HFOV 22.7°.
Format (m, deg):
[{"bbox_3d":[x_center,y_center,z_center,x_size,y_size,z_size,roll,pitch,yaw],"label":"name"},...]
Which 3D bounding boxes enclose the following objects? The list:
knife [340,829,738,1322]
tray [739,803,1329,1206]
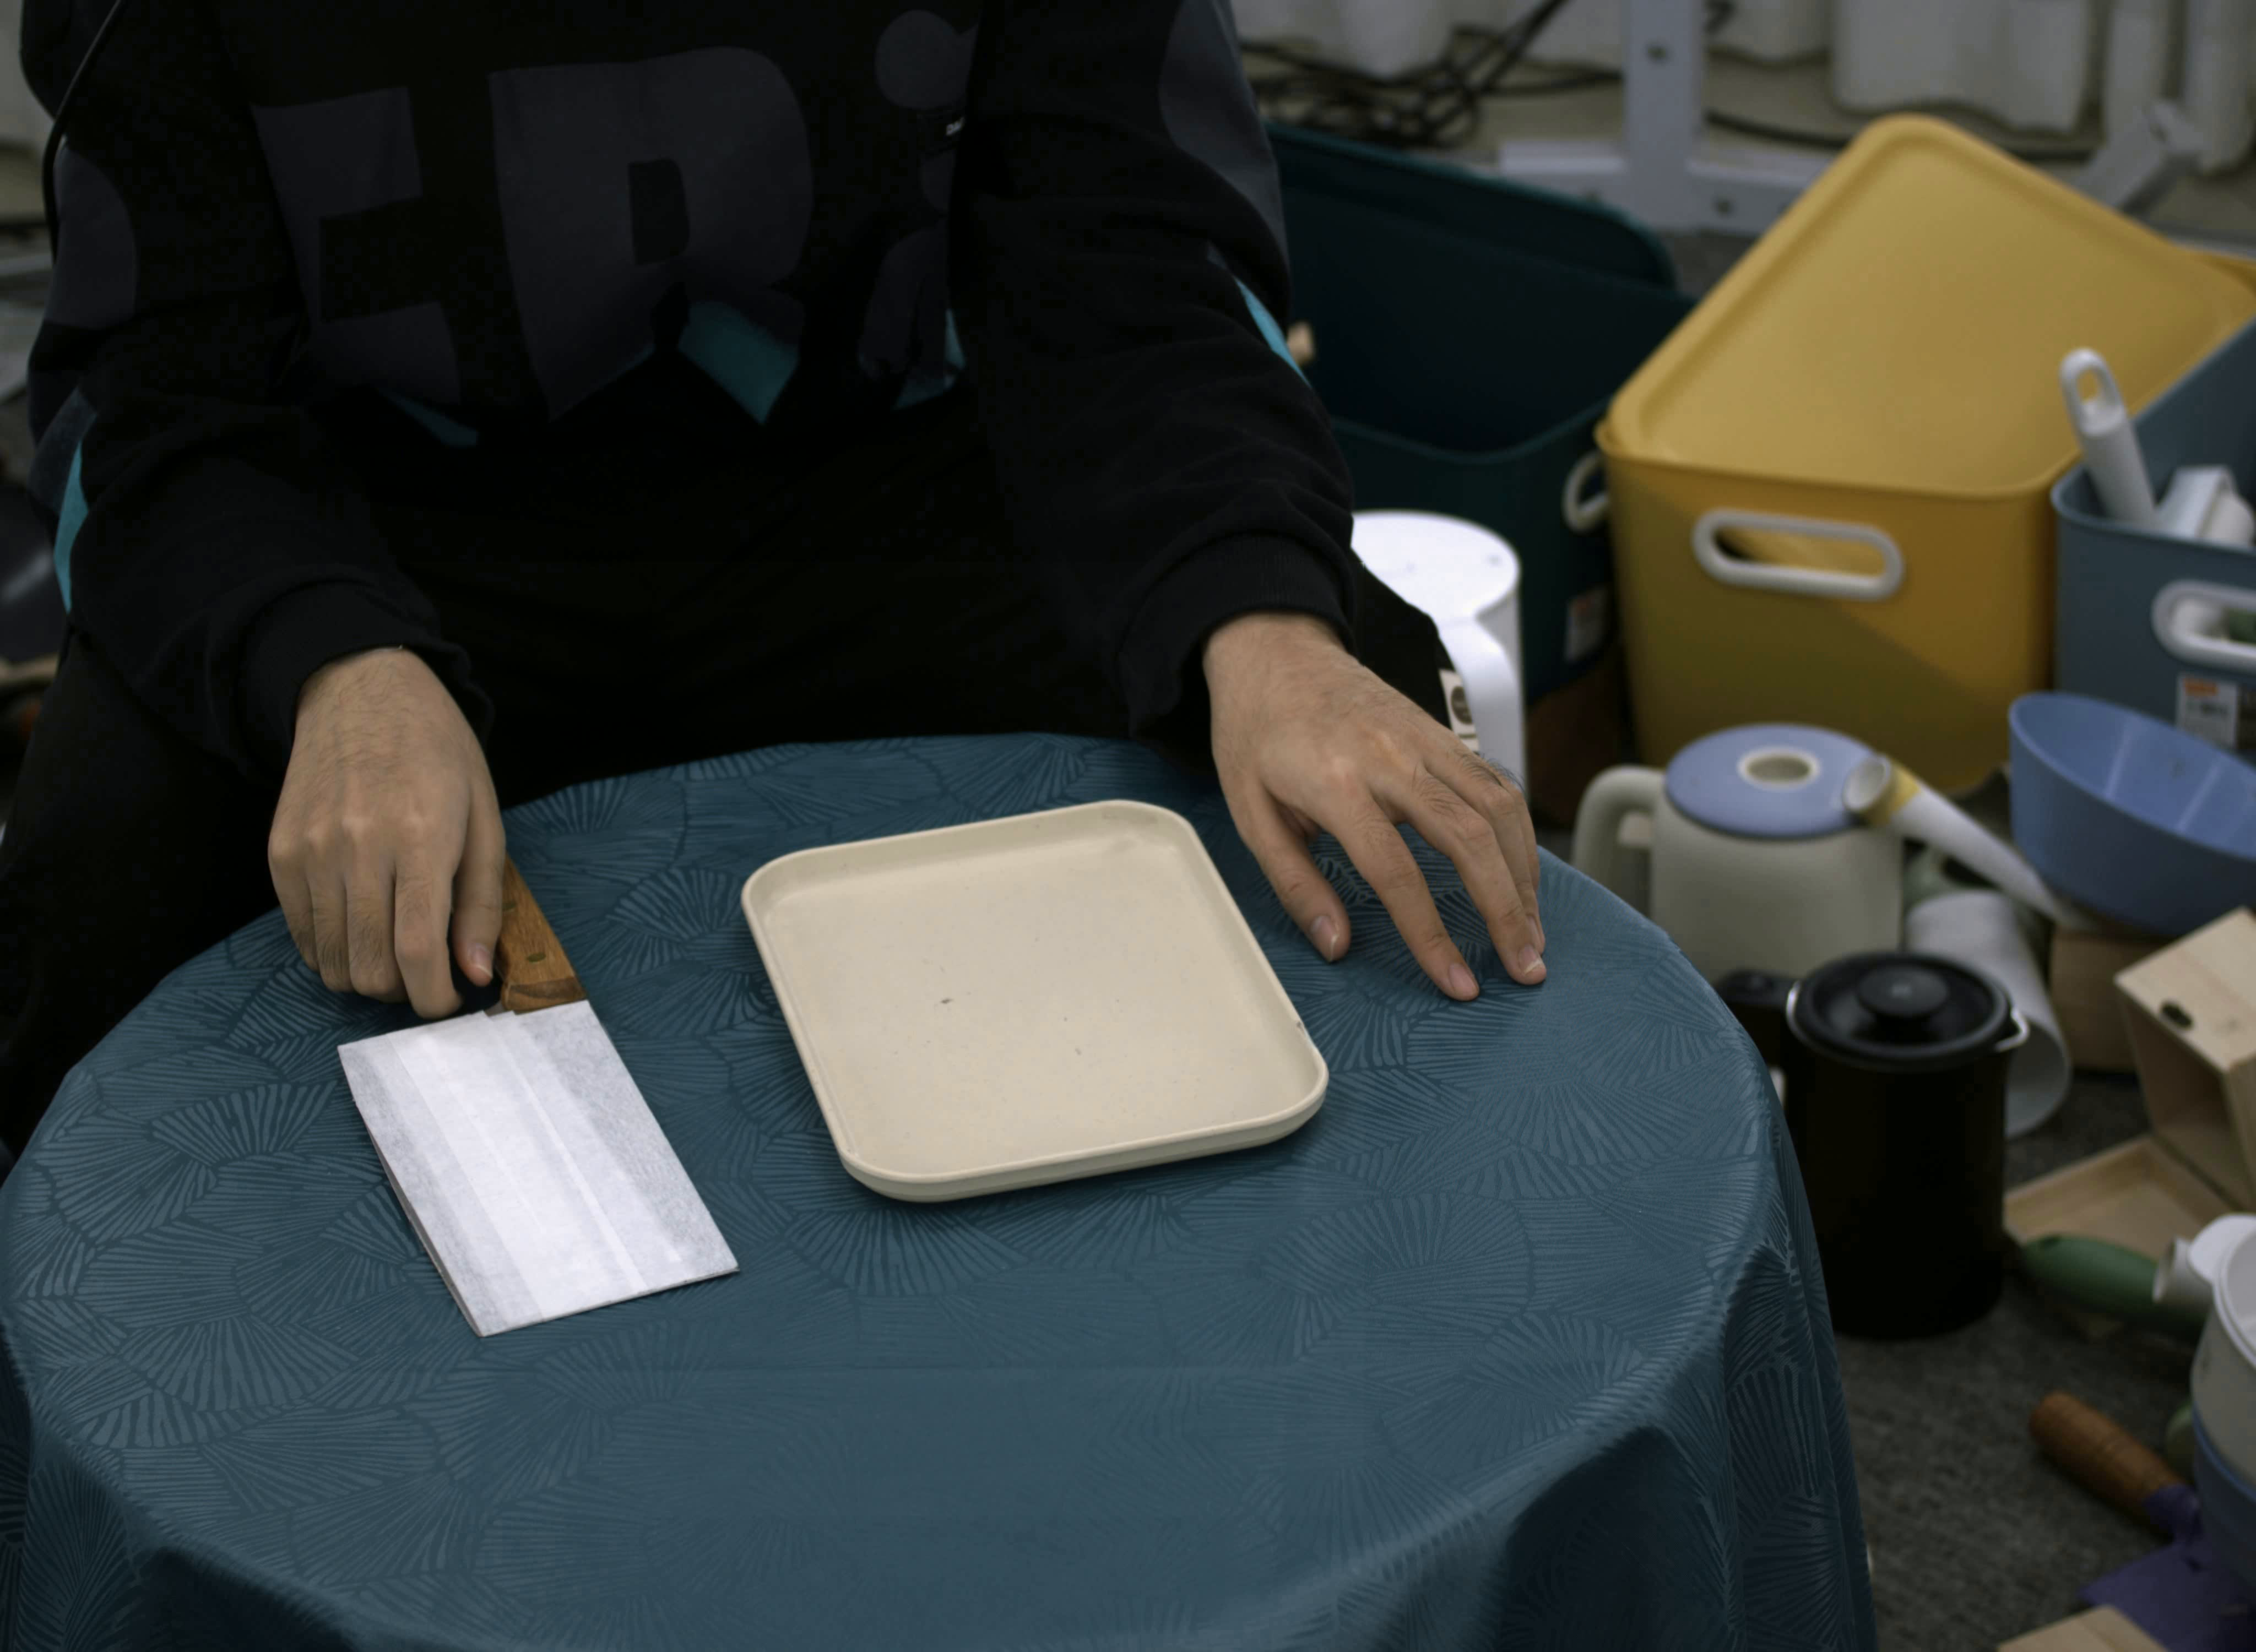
[{"bbox_3d":[-0.220,0.085,1.938,0.093,0.021,0.308,-13,32,-16],"label":"knife"},{"bbox_3d":[-0.036,0.061,1.962,0.171,0.017,0.242,-10,28,-11],"label":"tray"}]
